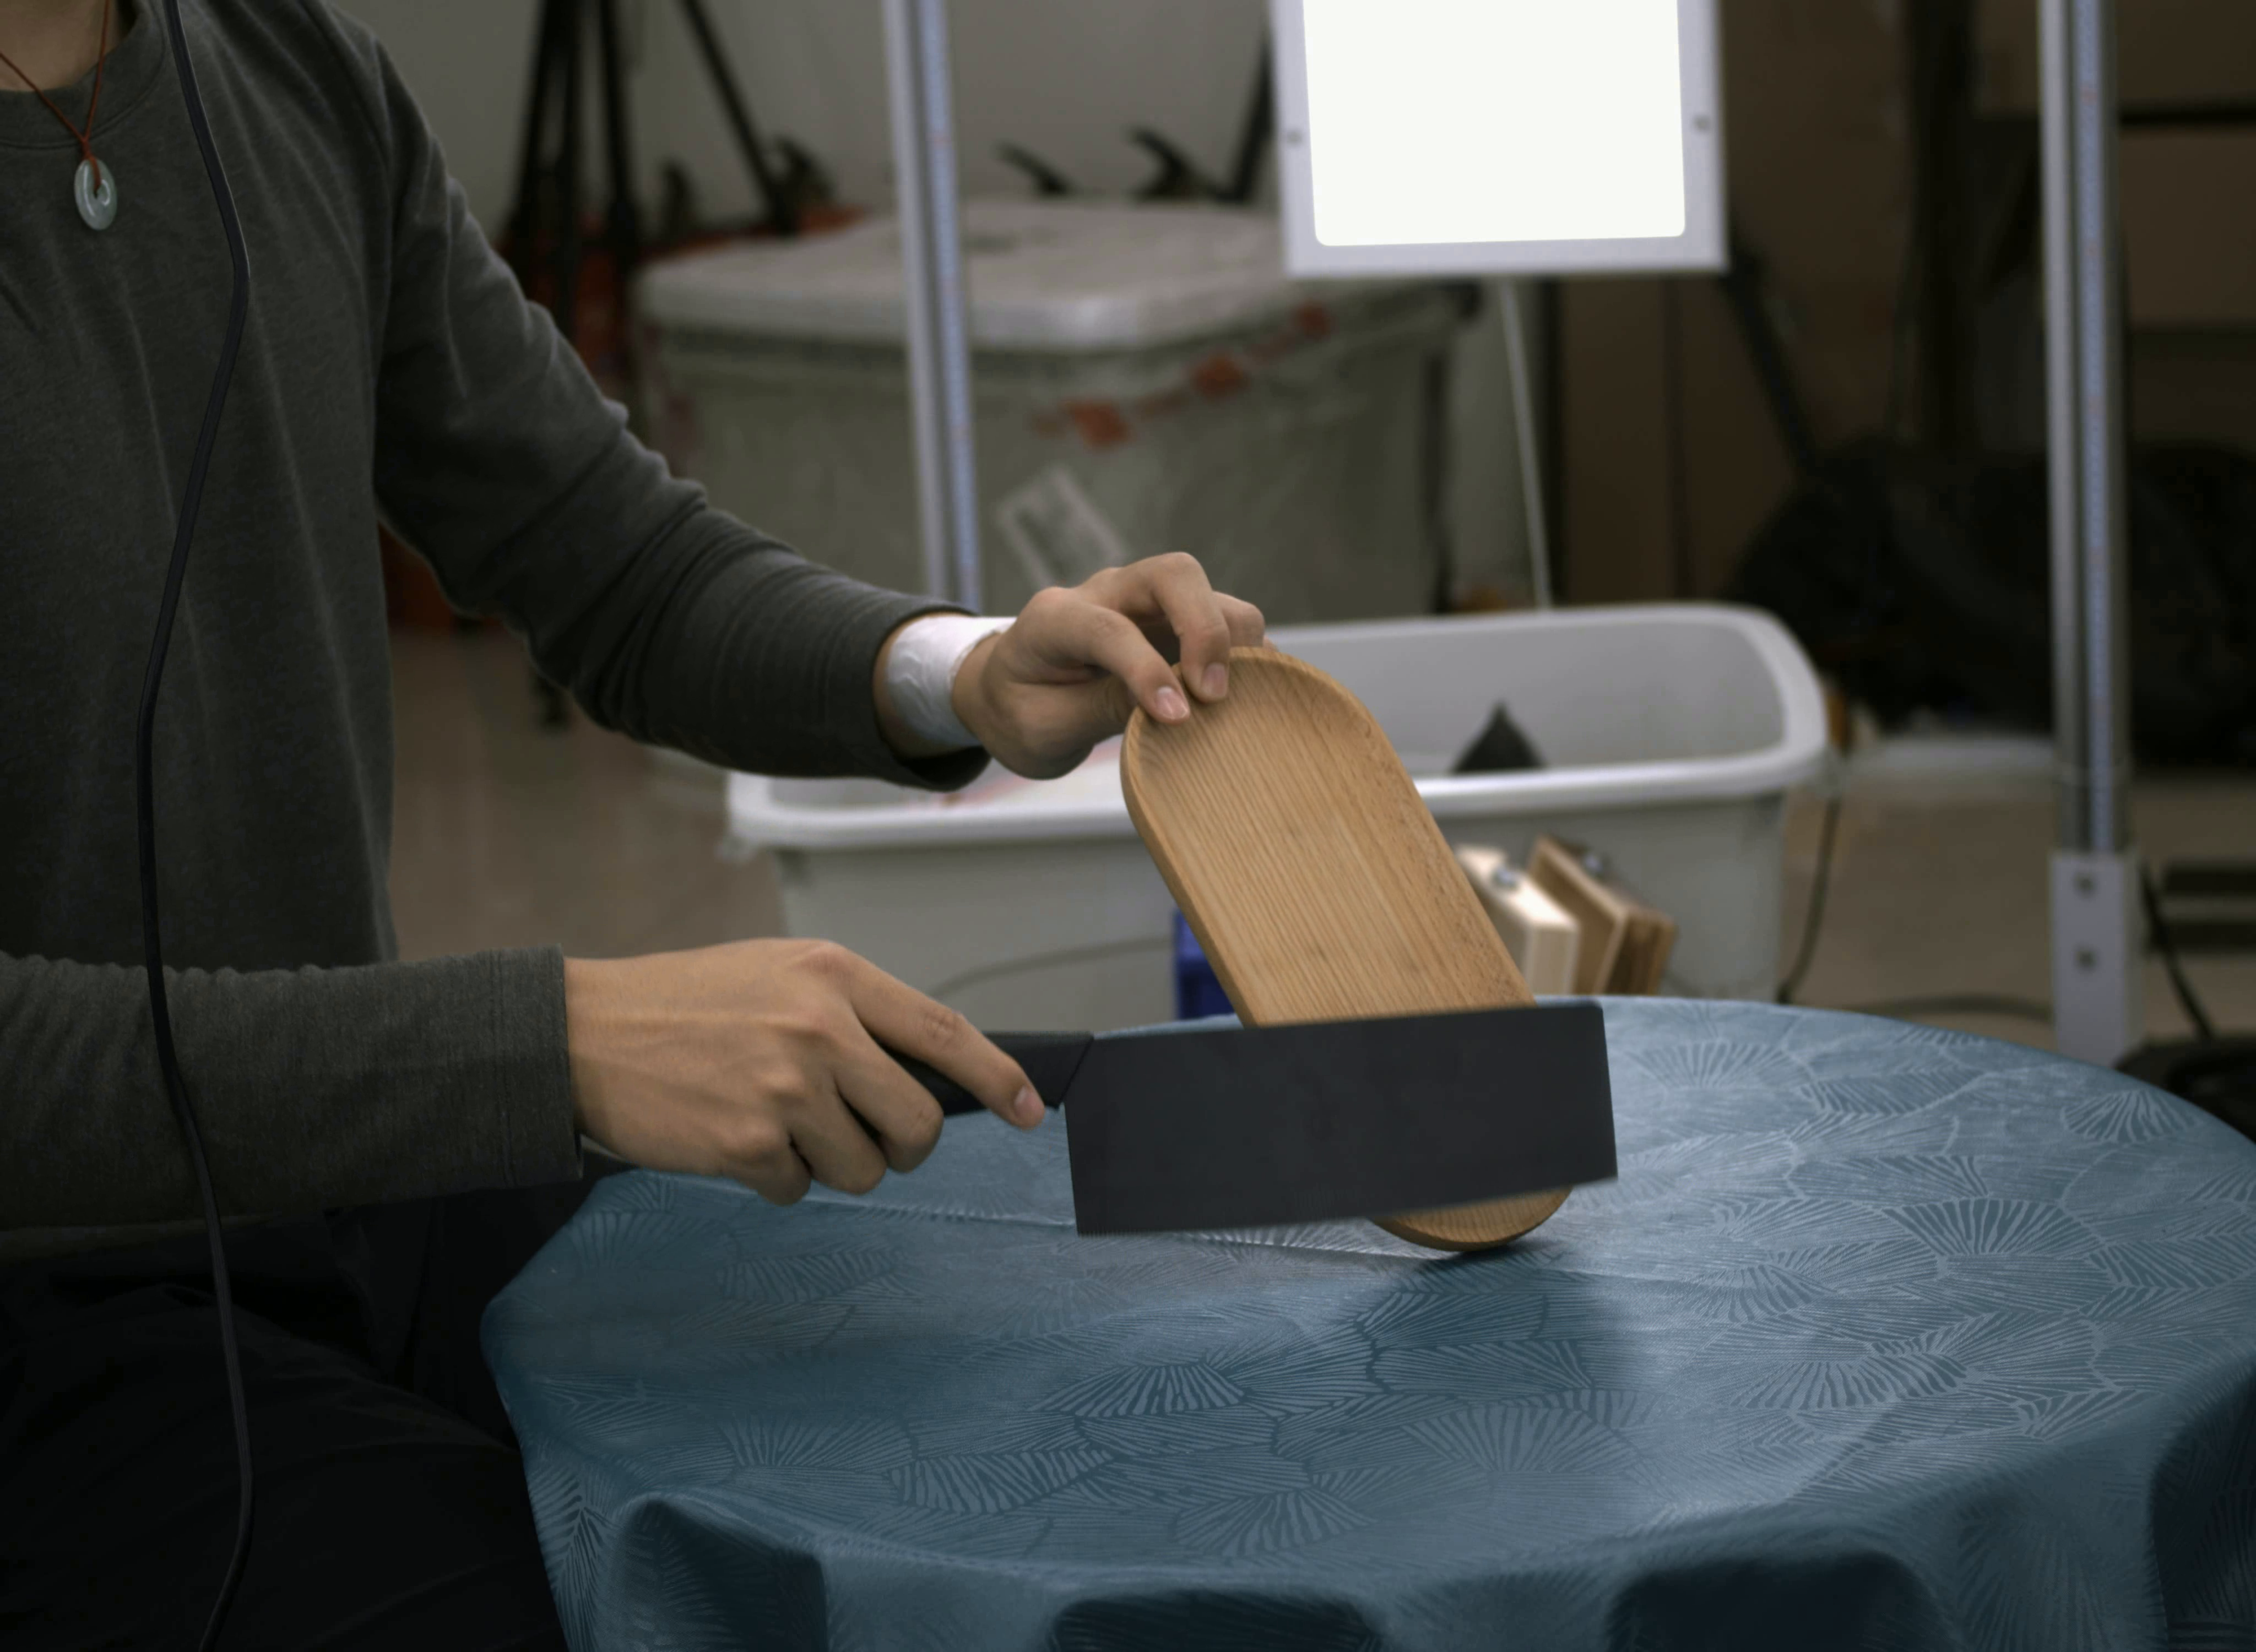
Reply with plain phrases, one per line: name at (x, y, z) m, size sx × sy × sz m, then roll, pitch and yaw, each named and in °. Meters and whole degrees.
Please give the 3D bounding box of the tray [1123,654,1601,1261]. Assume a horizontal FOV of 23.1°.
tray at (0.077, 0.043, 1.843) m, size 0.099 × 0.232 × 0.020 m, roll -21°, pitch -19°, yaw -25°

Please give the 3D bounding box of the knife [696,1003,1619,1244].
knife at (0.011, 0.096, 1.786) m, size 0.300 × 0.081 × 0.021 m, roll 0°, pitch -9°, yaw -3°
